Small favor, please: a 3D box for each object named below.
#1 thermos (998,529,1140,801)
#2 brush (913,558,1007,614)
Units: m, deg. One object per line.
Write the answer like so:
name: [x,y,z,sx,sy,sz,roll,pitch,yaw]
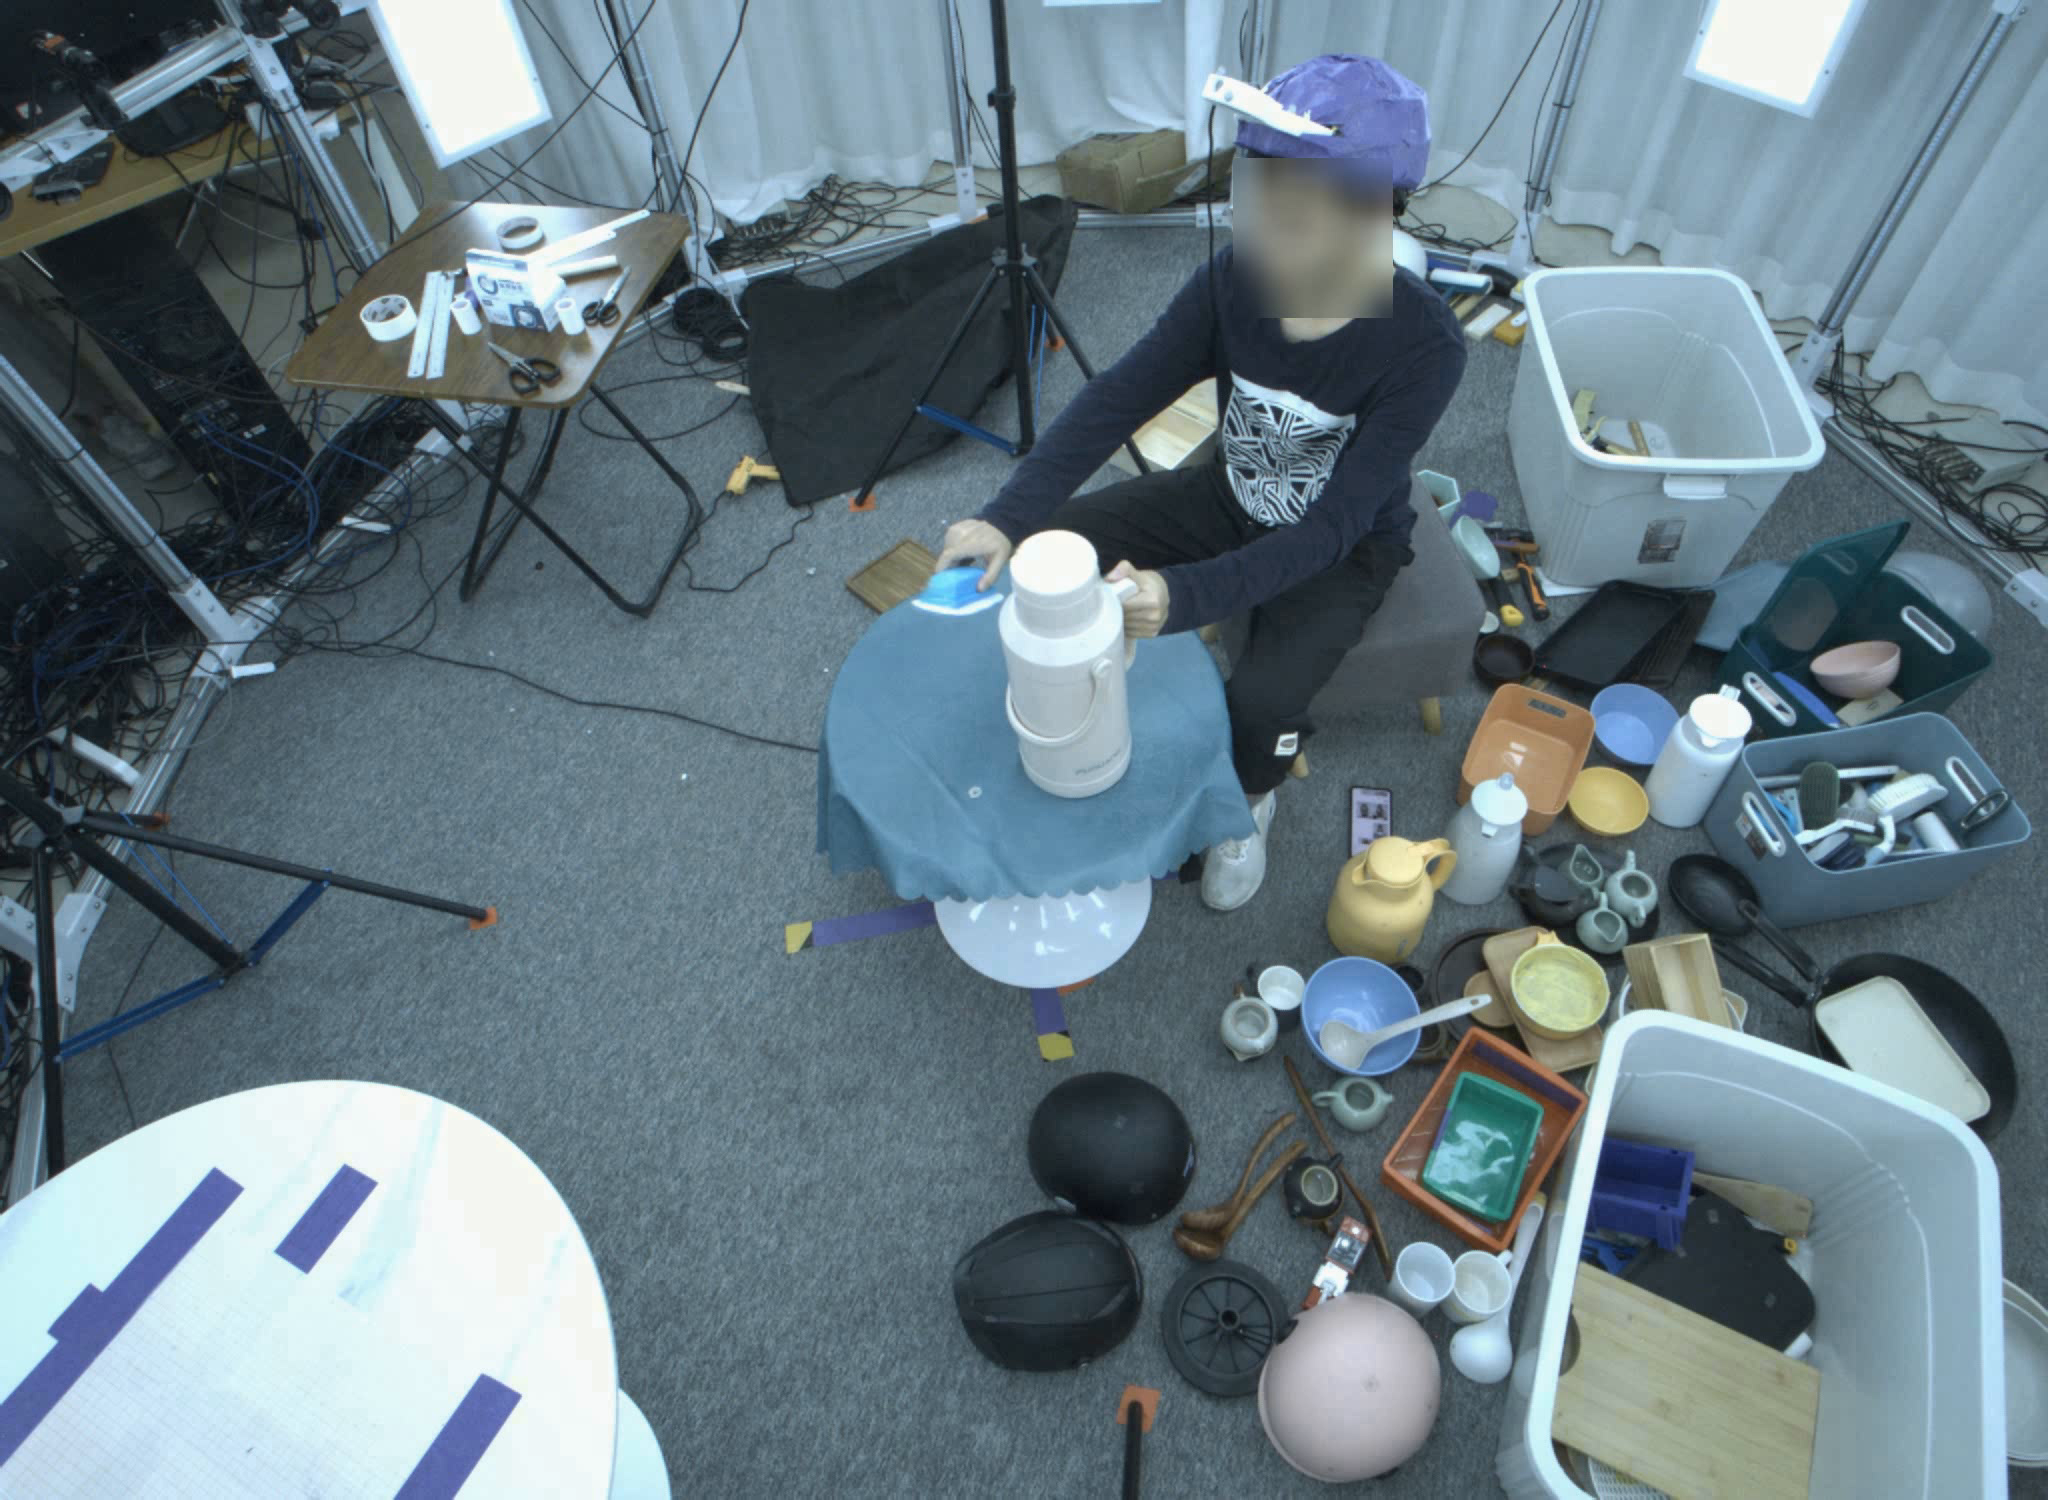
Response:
thermos: [0.067,-0.113,1.607,0.208,0.411,0.172,-35,57,-17]
brush: [-0.083,-0.222,1.633,0.082,0.056,0.145,18,25,20]
